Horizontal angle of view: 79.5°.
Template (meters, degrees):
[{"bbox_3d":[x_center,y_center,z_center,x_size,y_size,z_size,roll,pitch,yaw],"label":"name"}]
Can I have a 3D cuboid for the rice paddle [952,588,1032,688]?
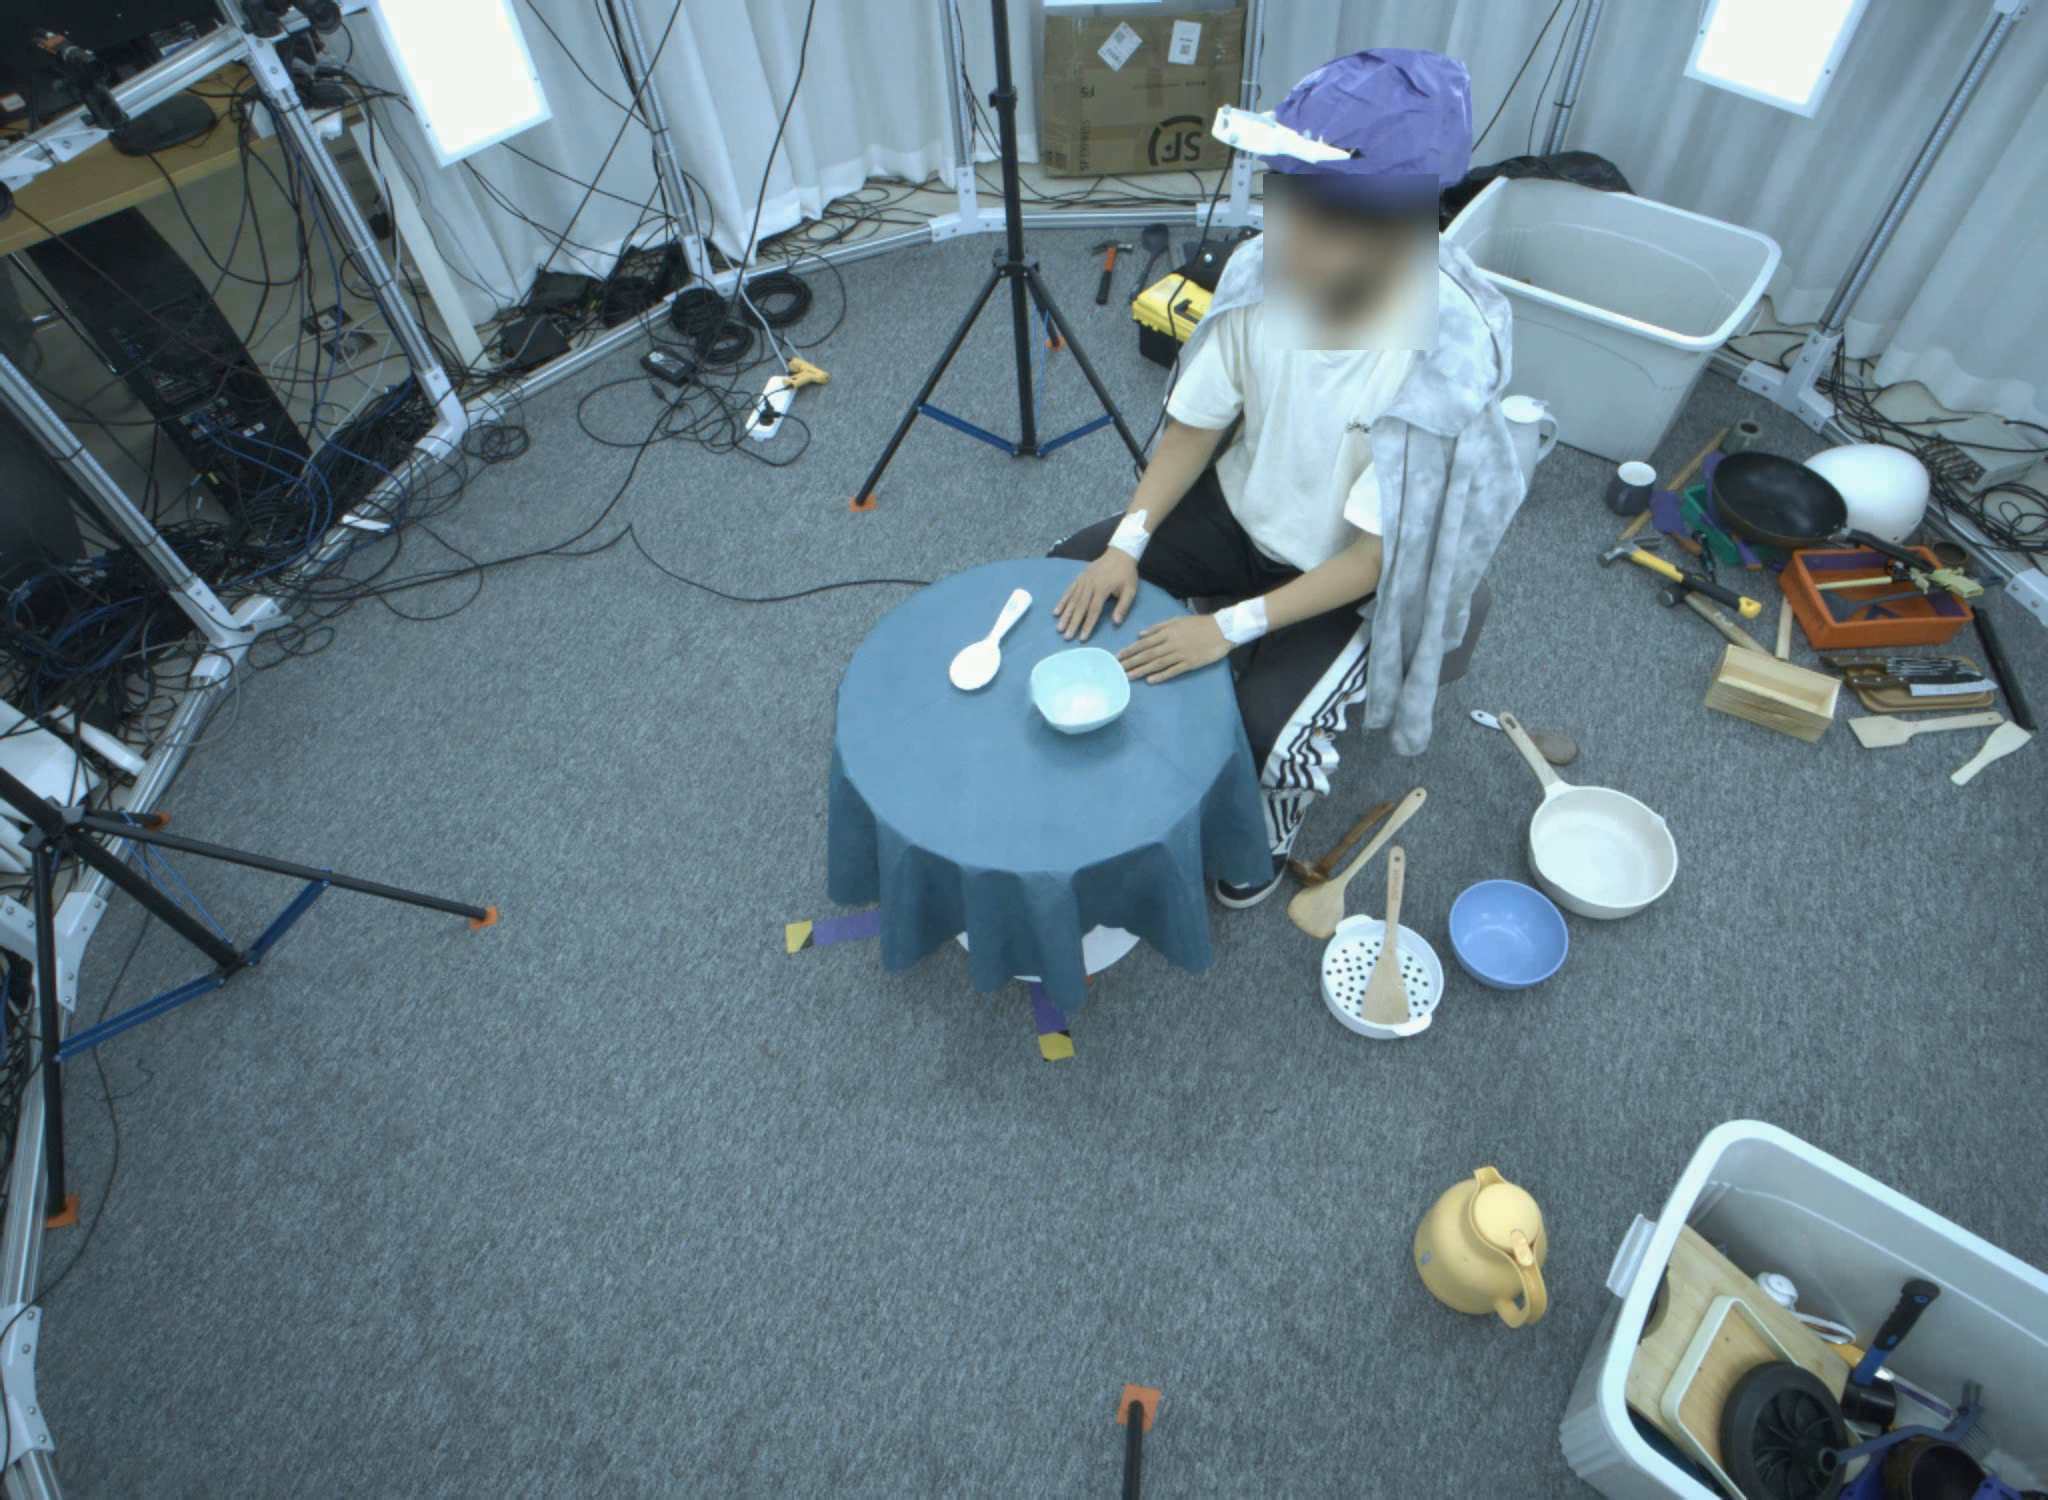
[{"bbox_3d":[-0.046,-0.171,1.894,0.068,0.030,0.205,20,58,18],"label":"rice paddle"}]

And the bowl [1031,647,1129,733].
[{"bbox_3d":[0.083,-0.078,1.807,0.151,0.059,0.150,-2,55,4],"label":"bowl"}]
